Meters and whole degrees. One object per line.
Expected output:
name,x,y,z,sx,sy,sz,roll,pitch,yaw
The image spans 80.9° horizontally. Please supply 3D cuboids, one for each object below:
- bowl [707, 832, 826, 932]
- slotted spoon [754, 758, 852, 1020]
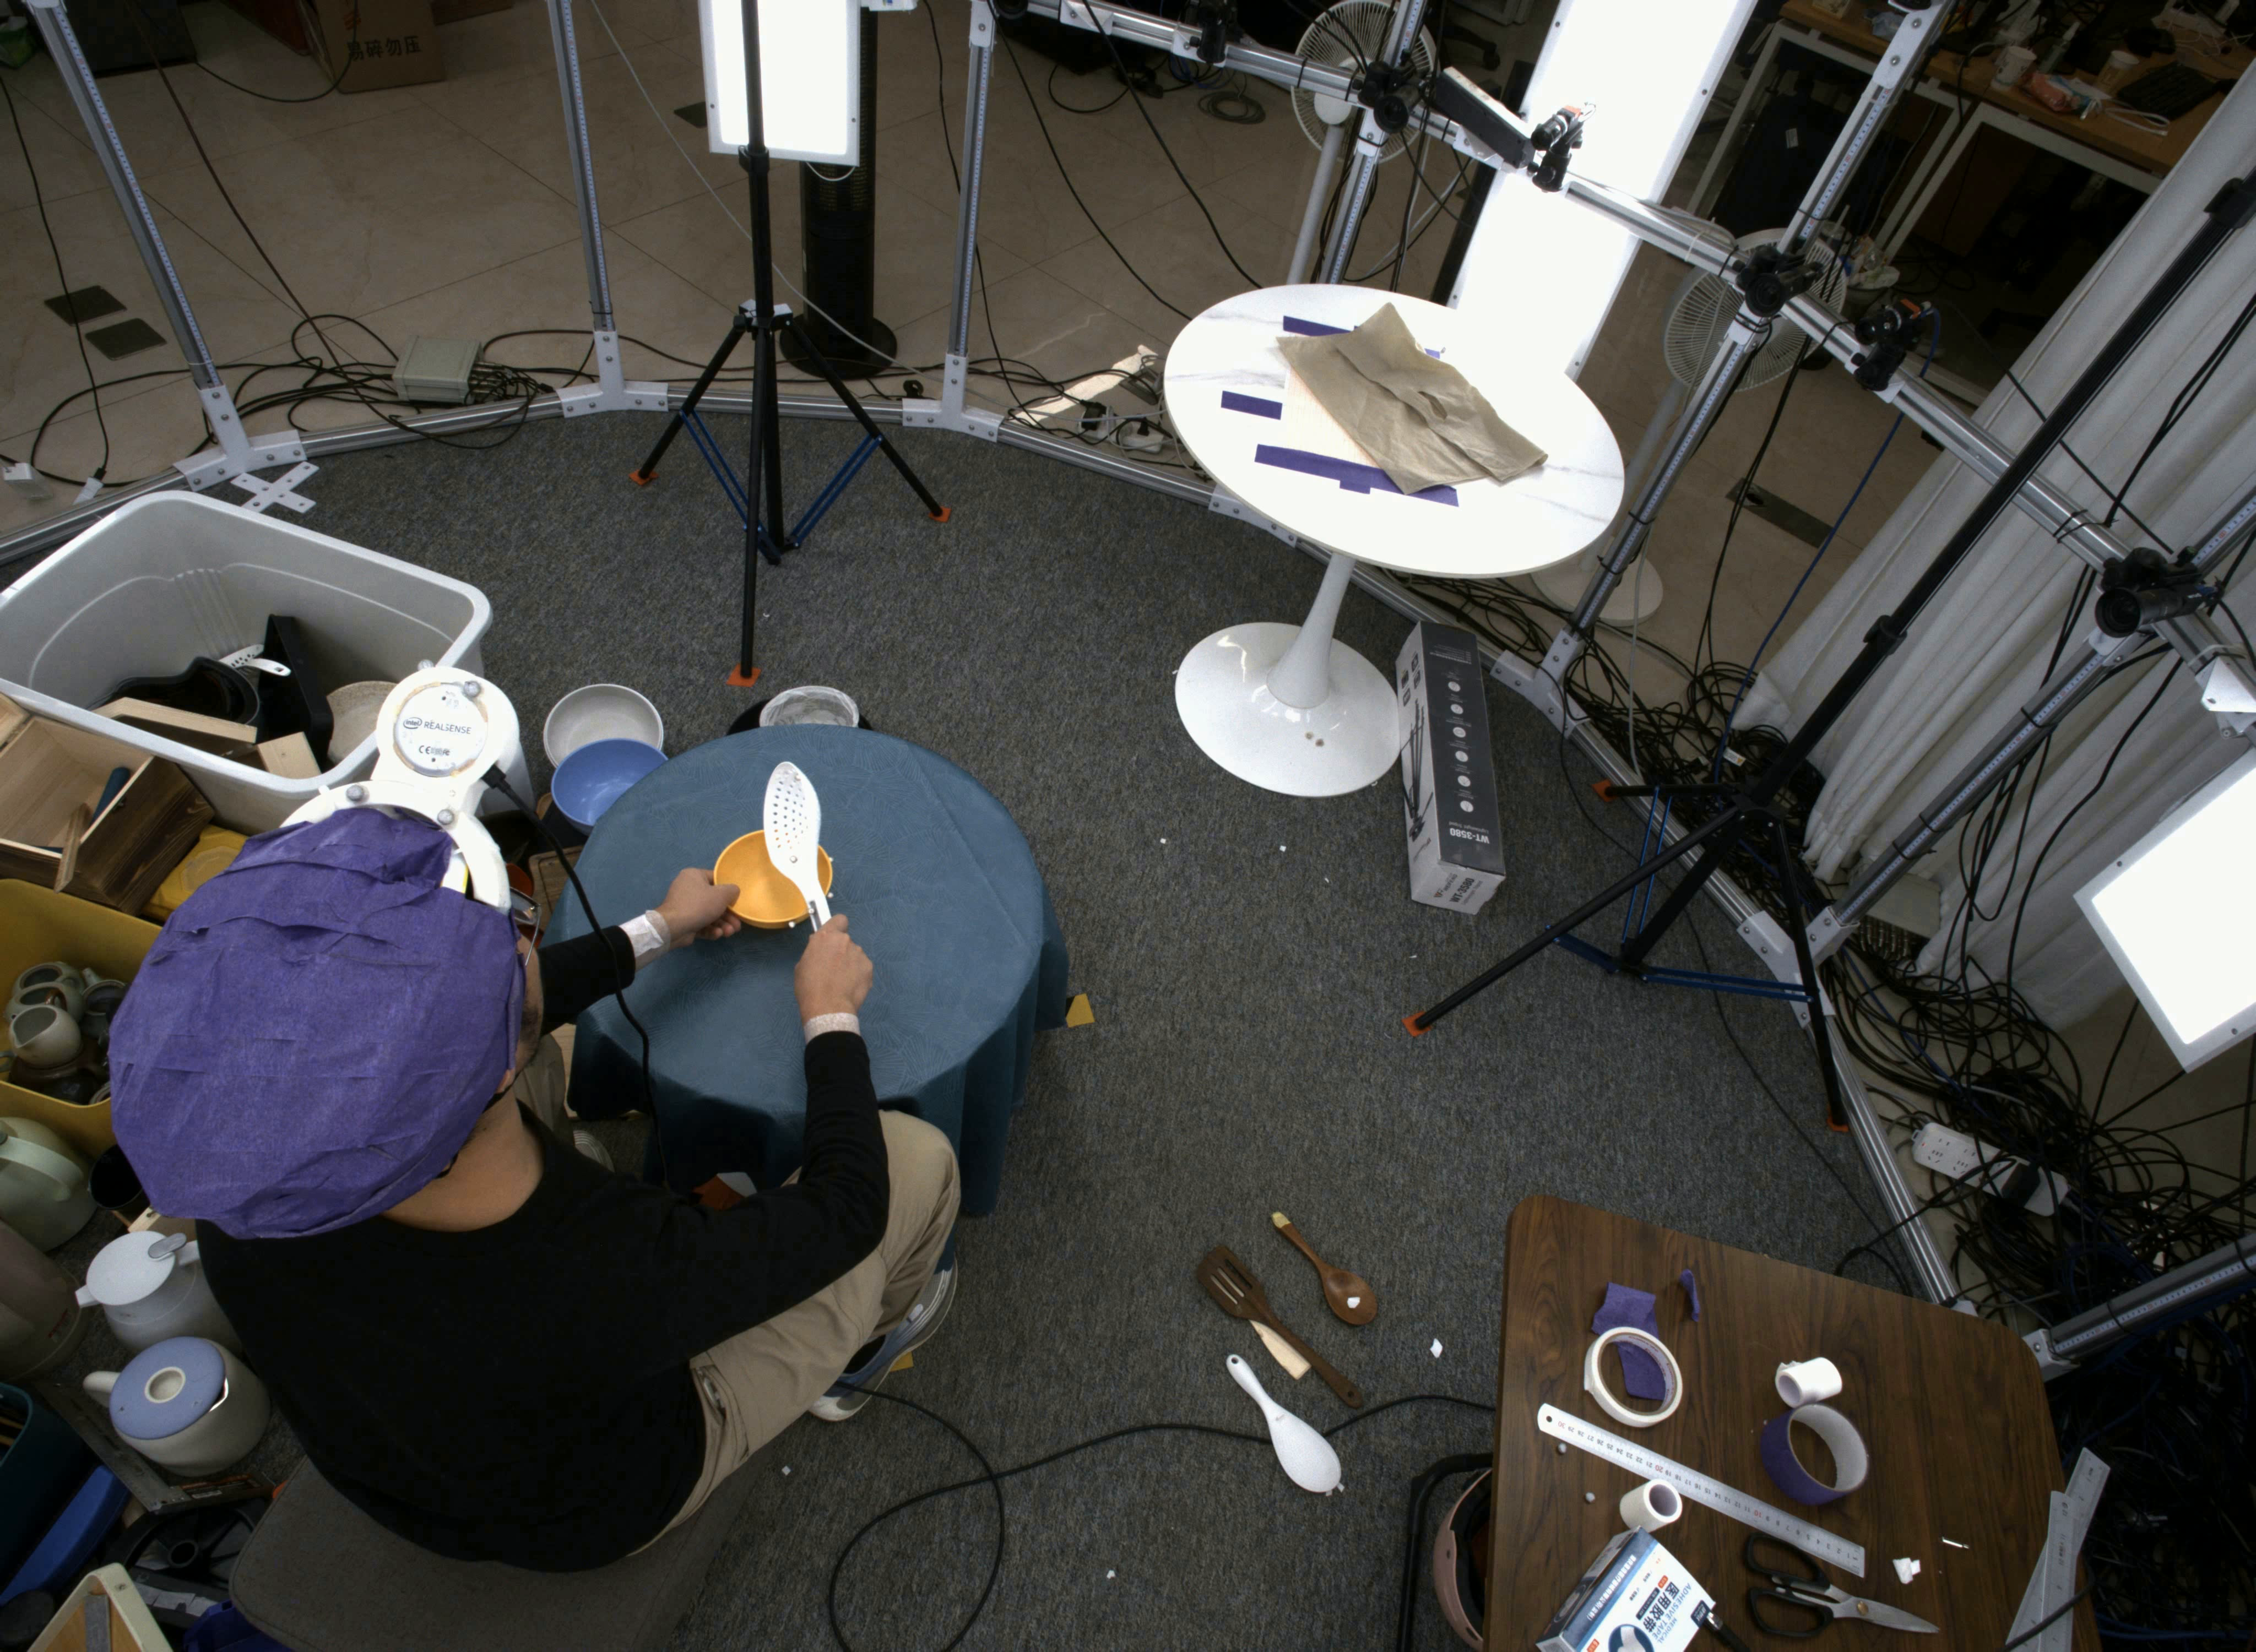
bowl,-0.449,0.079,1.616,0.145,0.061,0.142,7,49,-7
slotted spoon,-0.384,0.071,1.533,0.046,0.137,0.341,1,52,-34
